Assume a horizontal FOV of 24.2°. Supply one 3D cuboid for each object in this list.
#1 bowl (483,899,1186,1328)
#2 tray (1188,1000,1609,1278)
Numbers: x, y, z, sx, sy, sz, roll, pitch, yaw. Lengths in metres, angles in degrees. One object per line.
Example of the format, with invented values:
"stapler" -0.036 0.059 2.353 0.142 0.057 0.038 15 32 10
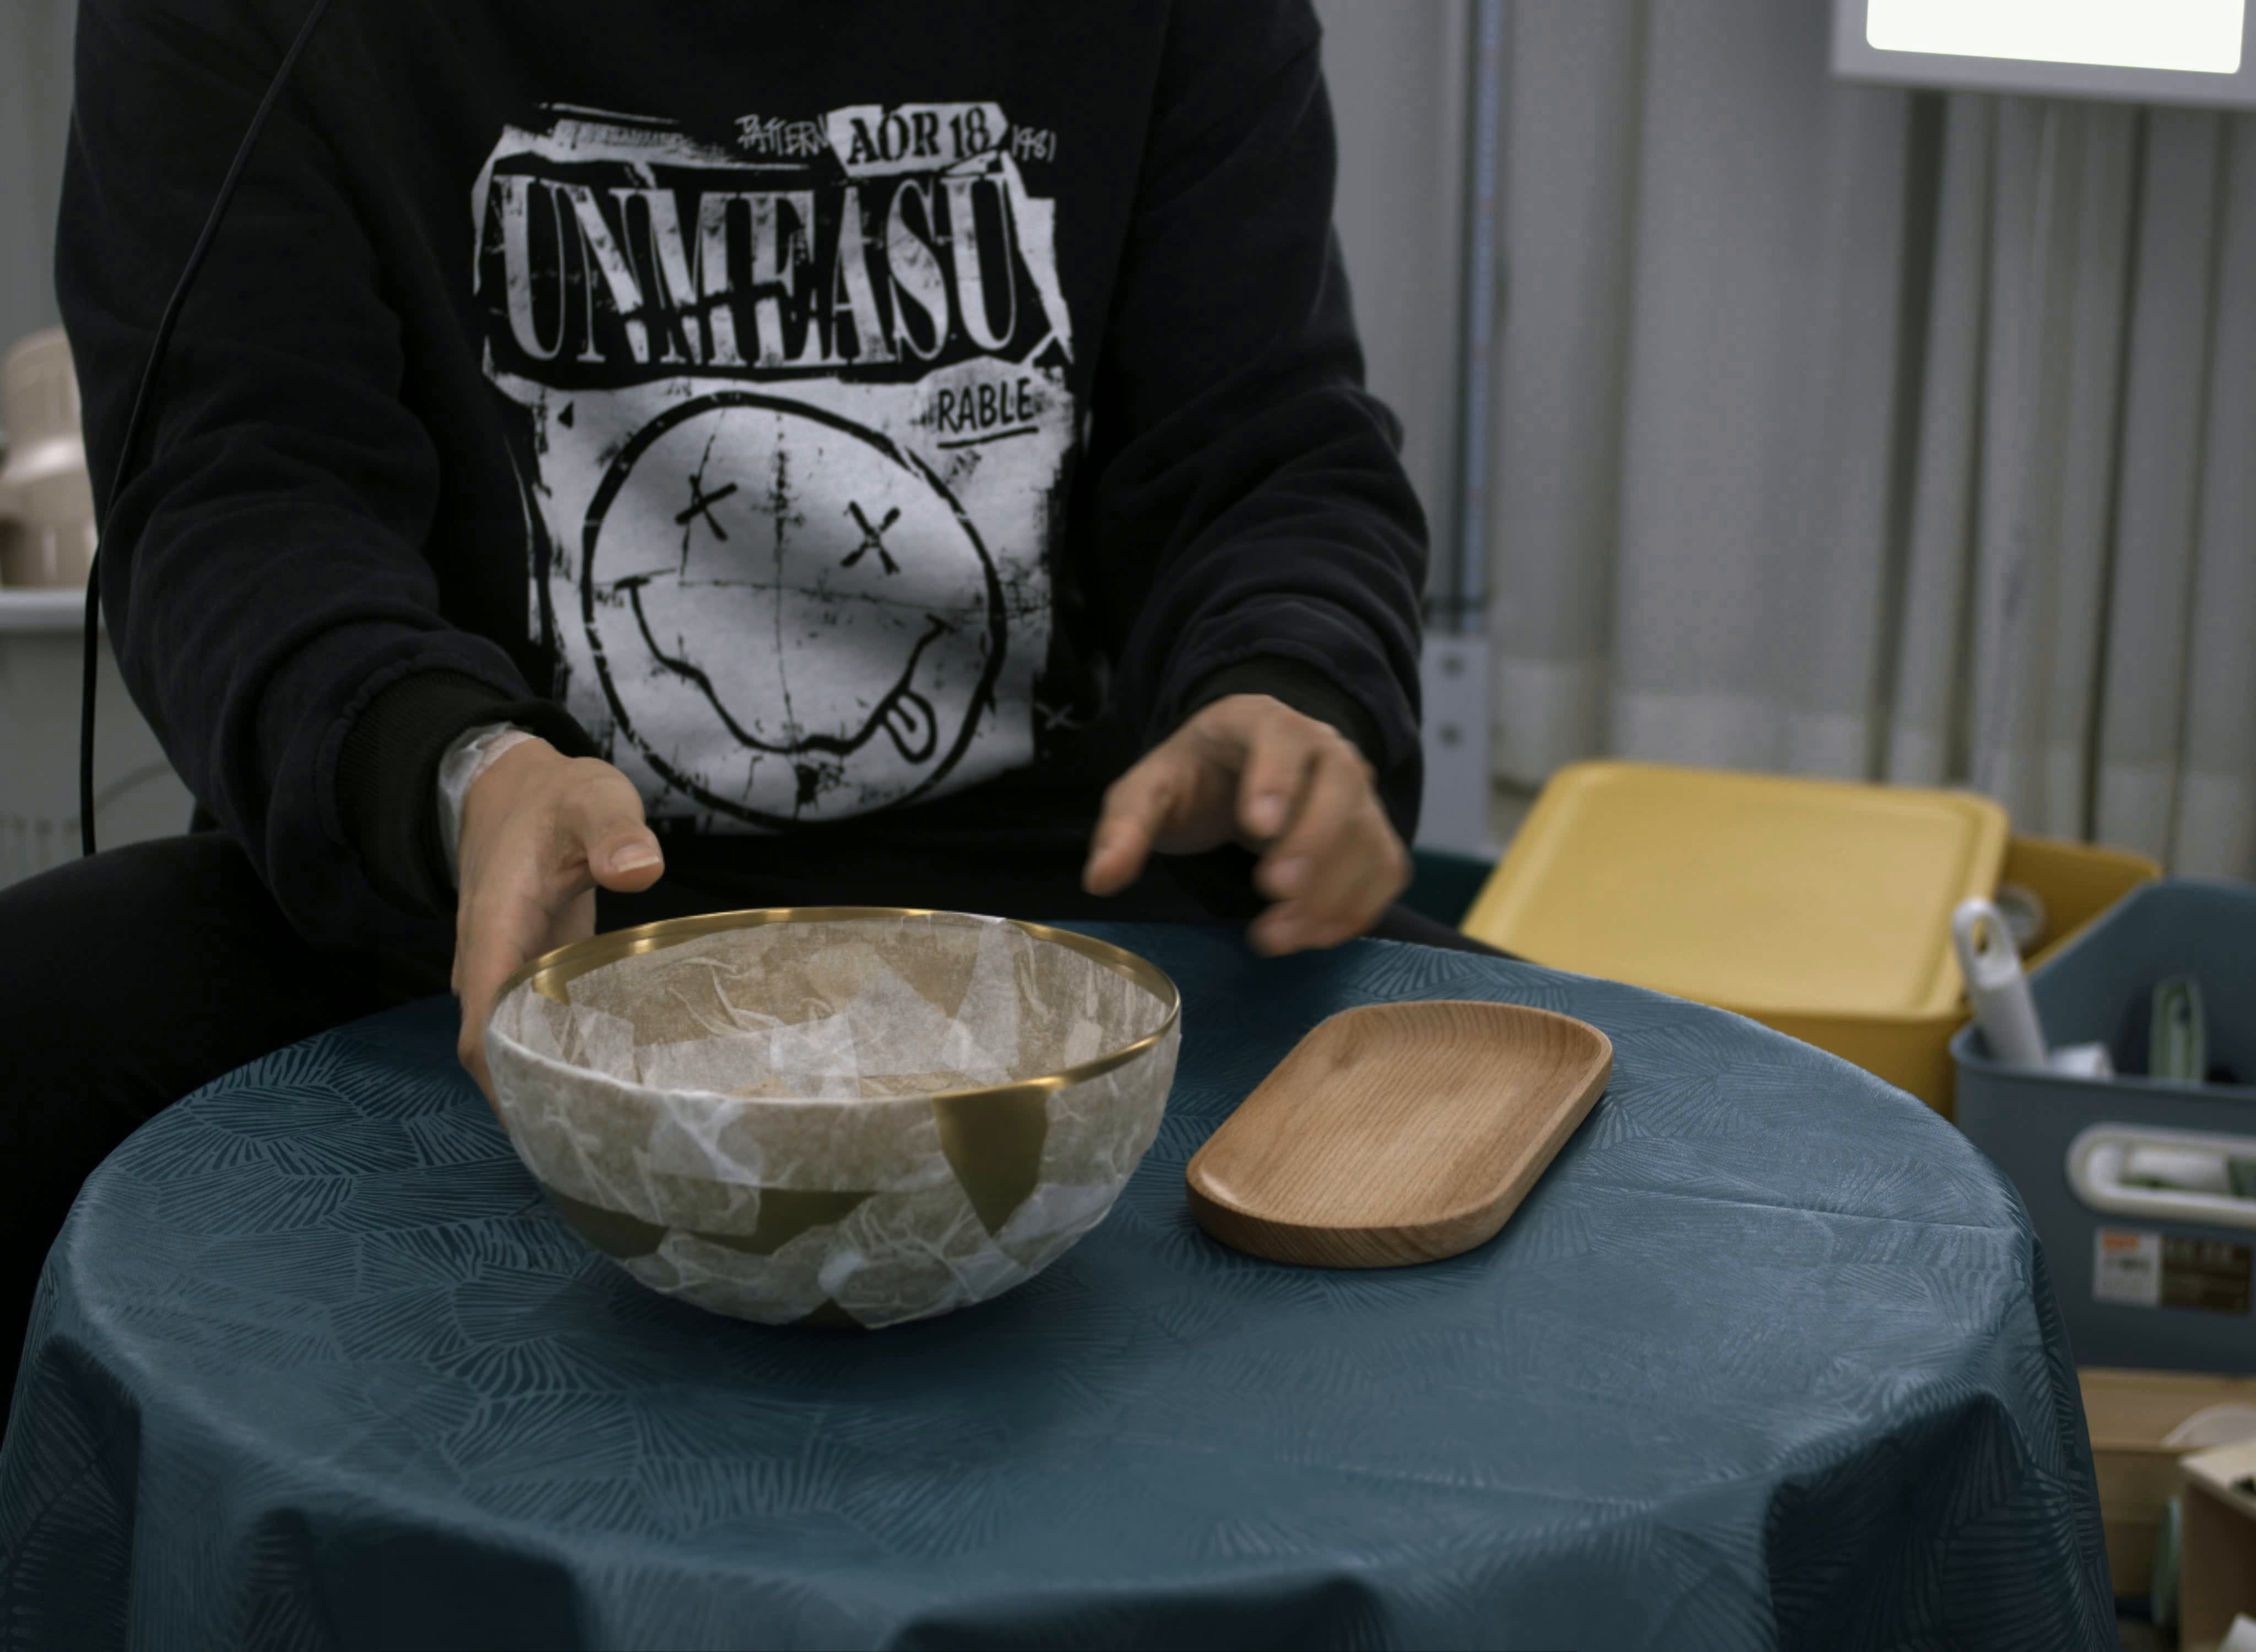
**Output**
"bowl" -0.080 0.090 1.527 0.214 0.095 0.213 0 15 1
"tray" 0.088 0.097 1.660 0.101 0.020 0.231 3 18 16
